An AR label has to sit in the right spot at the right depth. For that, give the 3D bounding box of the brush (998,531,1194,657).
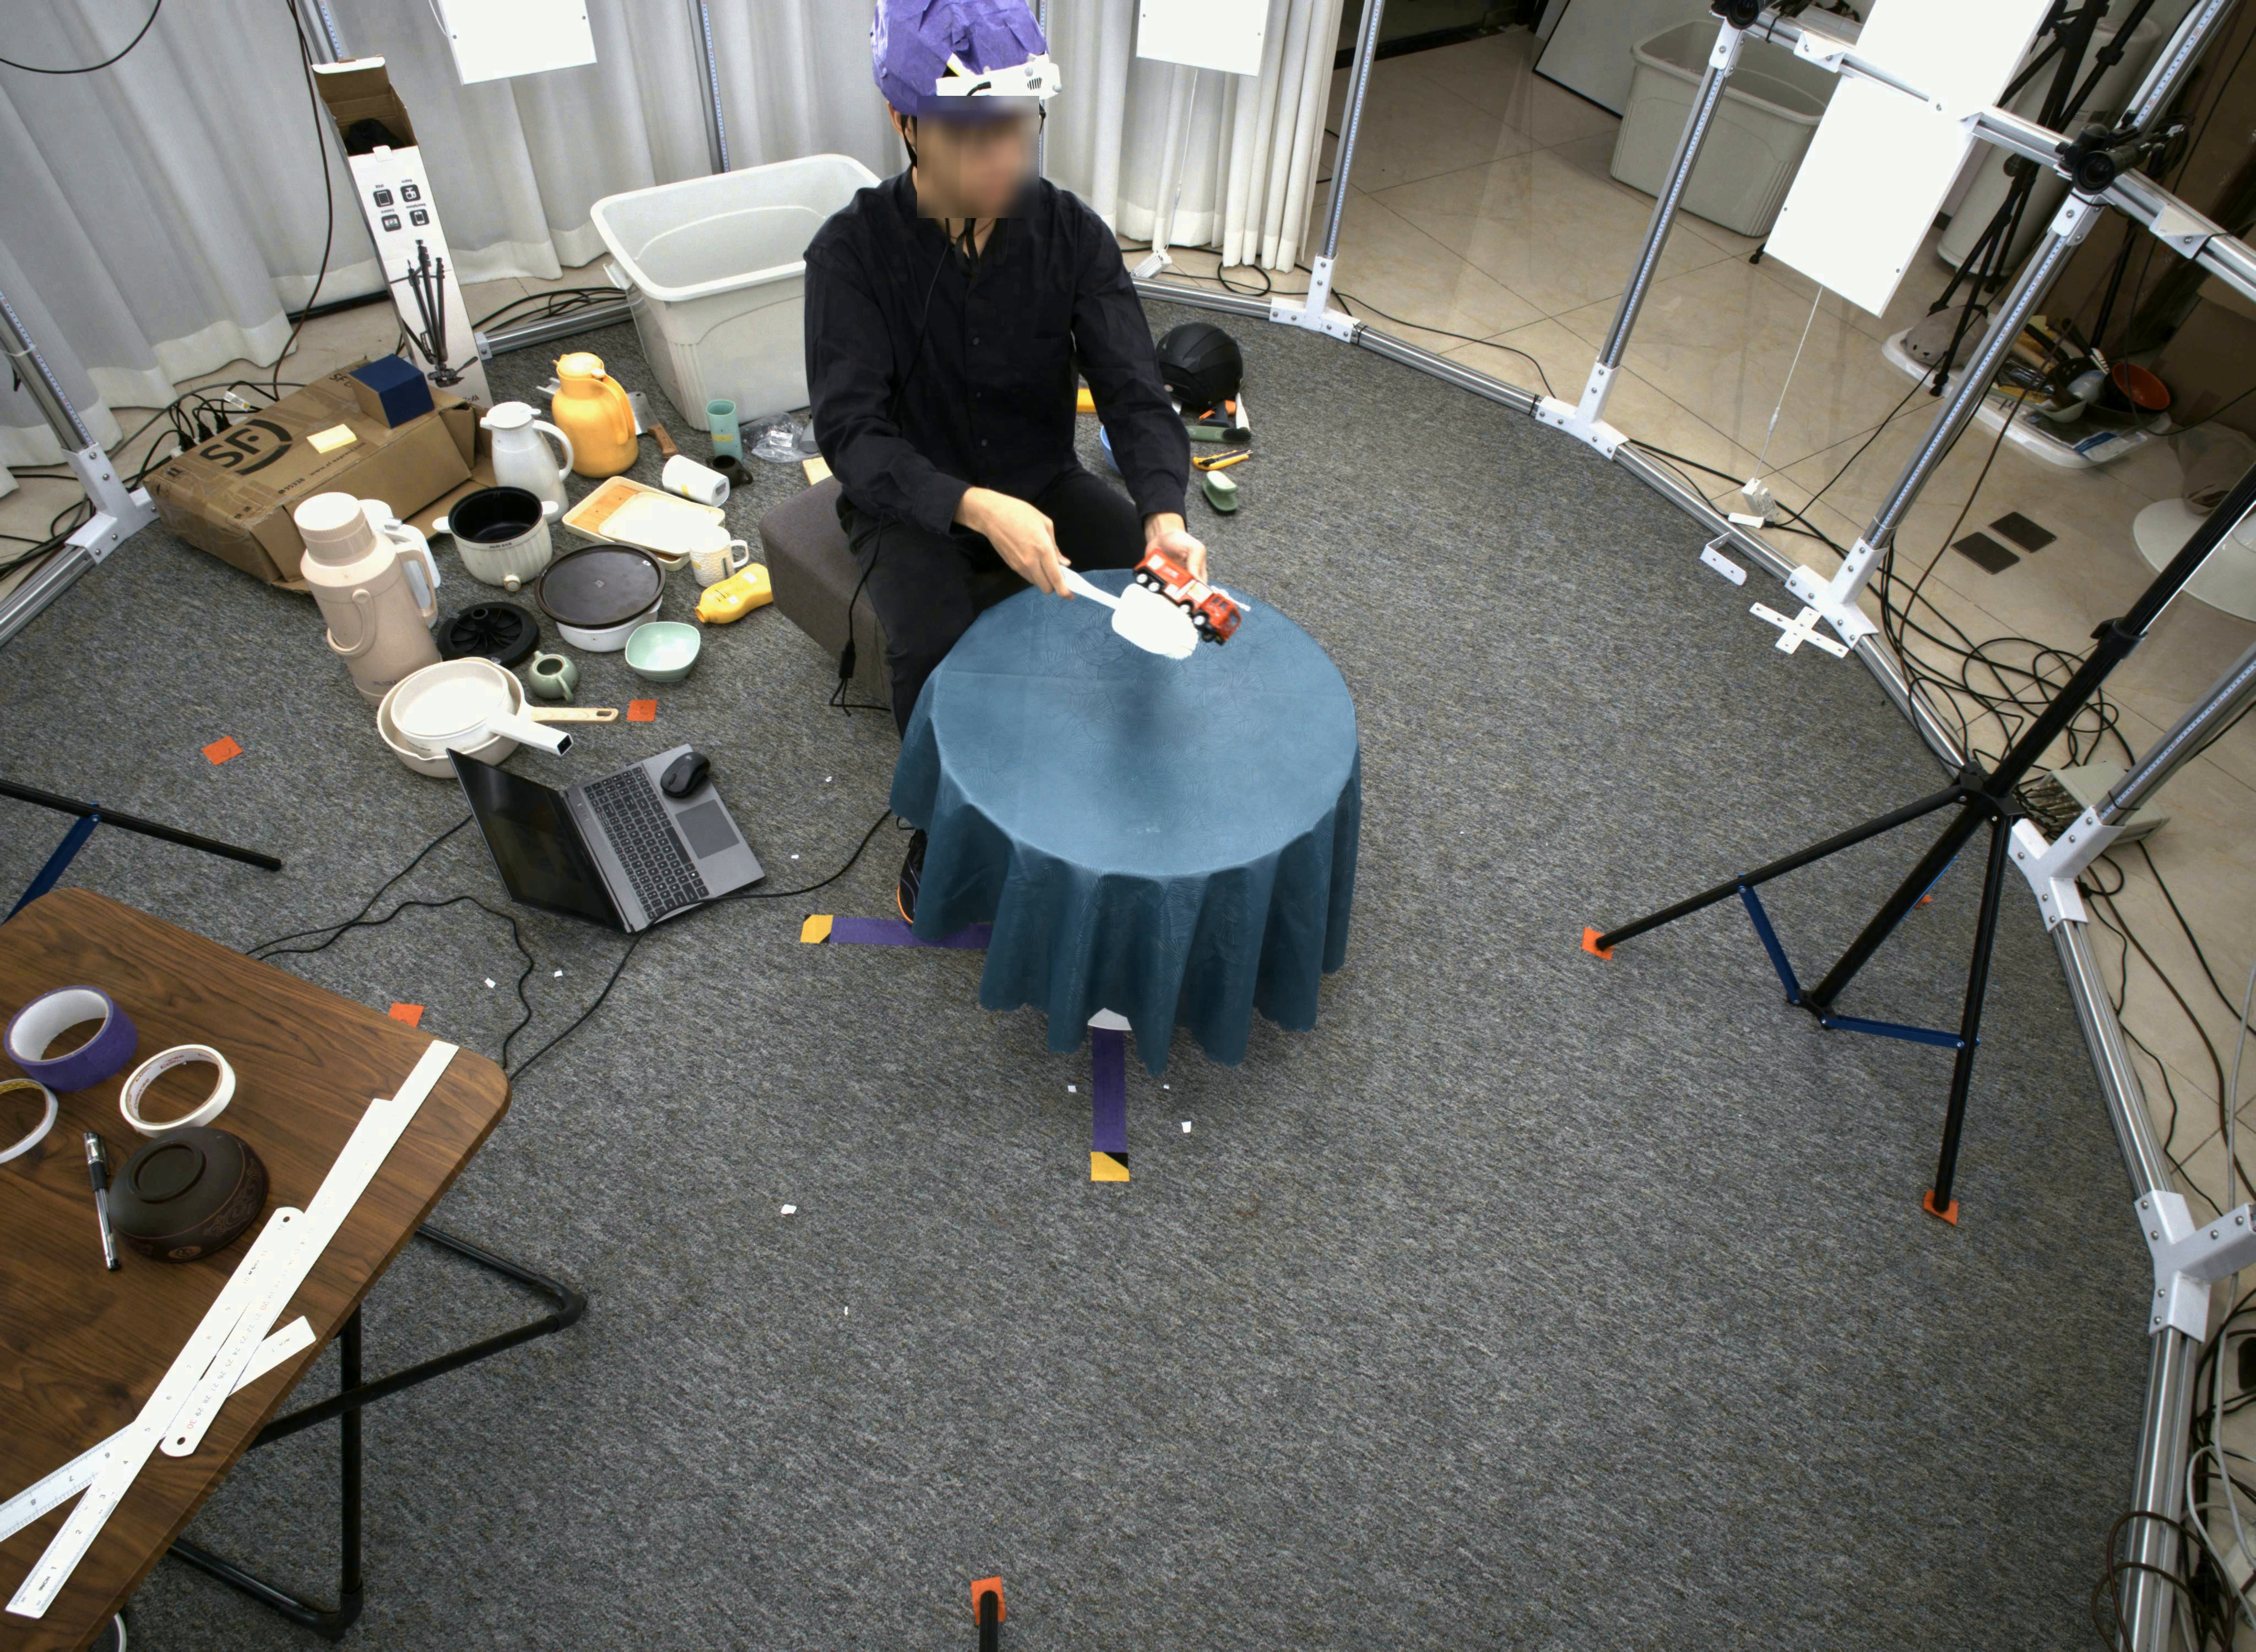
[{"bbox_3d":[-0.036,-0.315,1.698,0.330,0.083,0.083,35,74,27],"label":"brush"}]

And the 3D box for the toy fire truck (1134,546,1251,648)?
[{"bbox_3d":[0.080,-0.297,1.663,0.070,0.053,0.171,-47,58,-2],"label":"toy fire truck"}]
